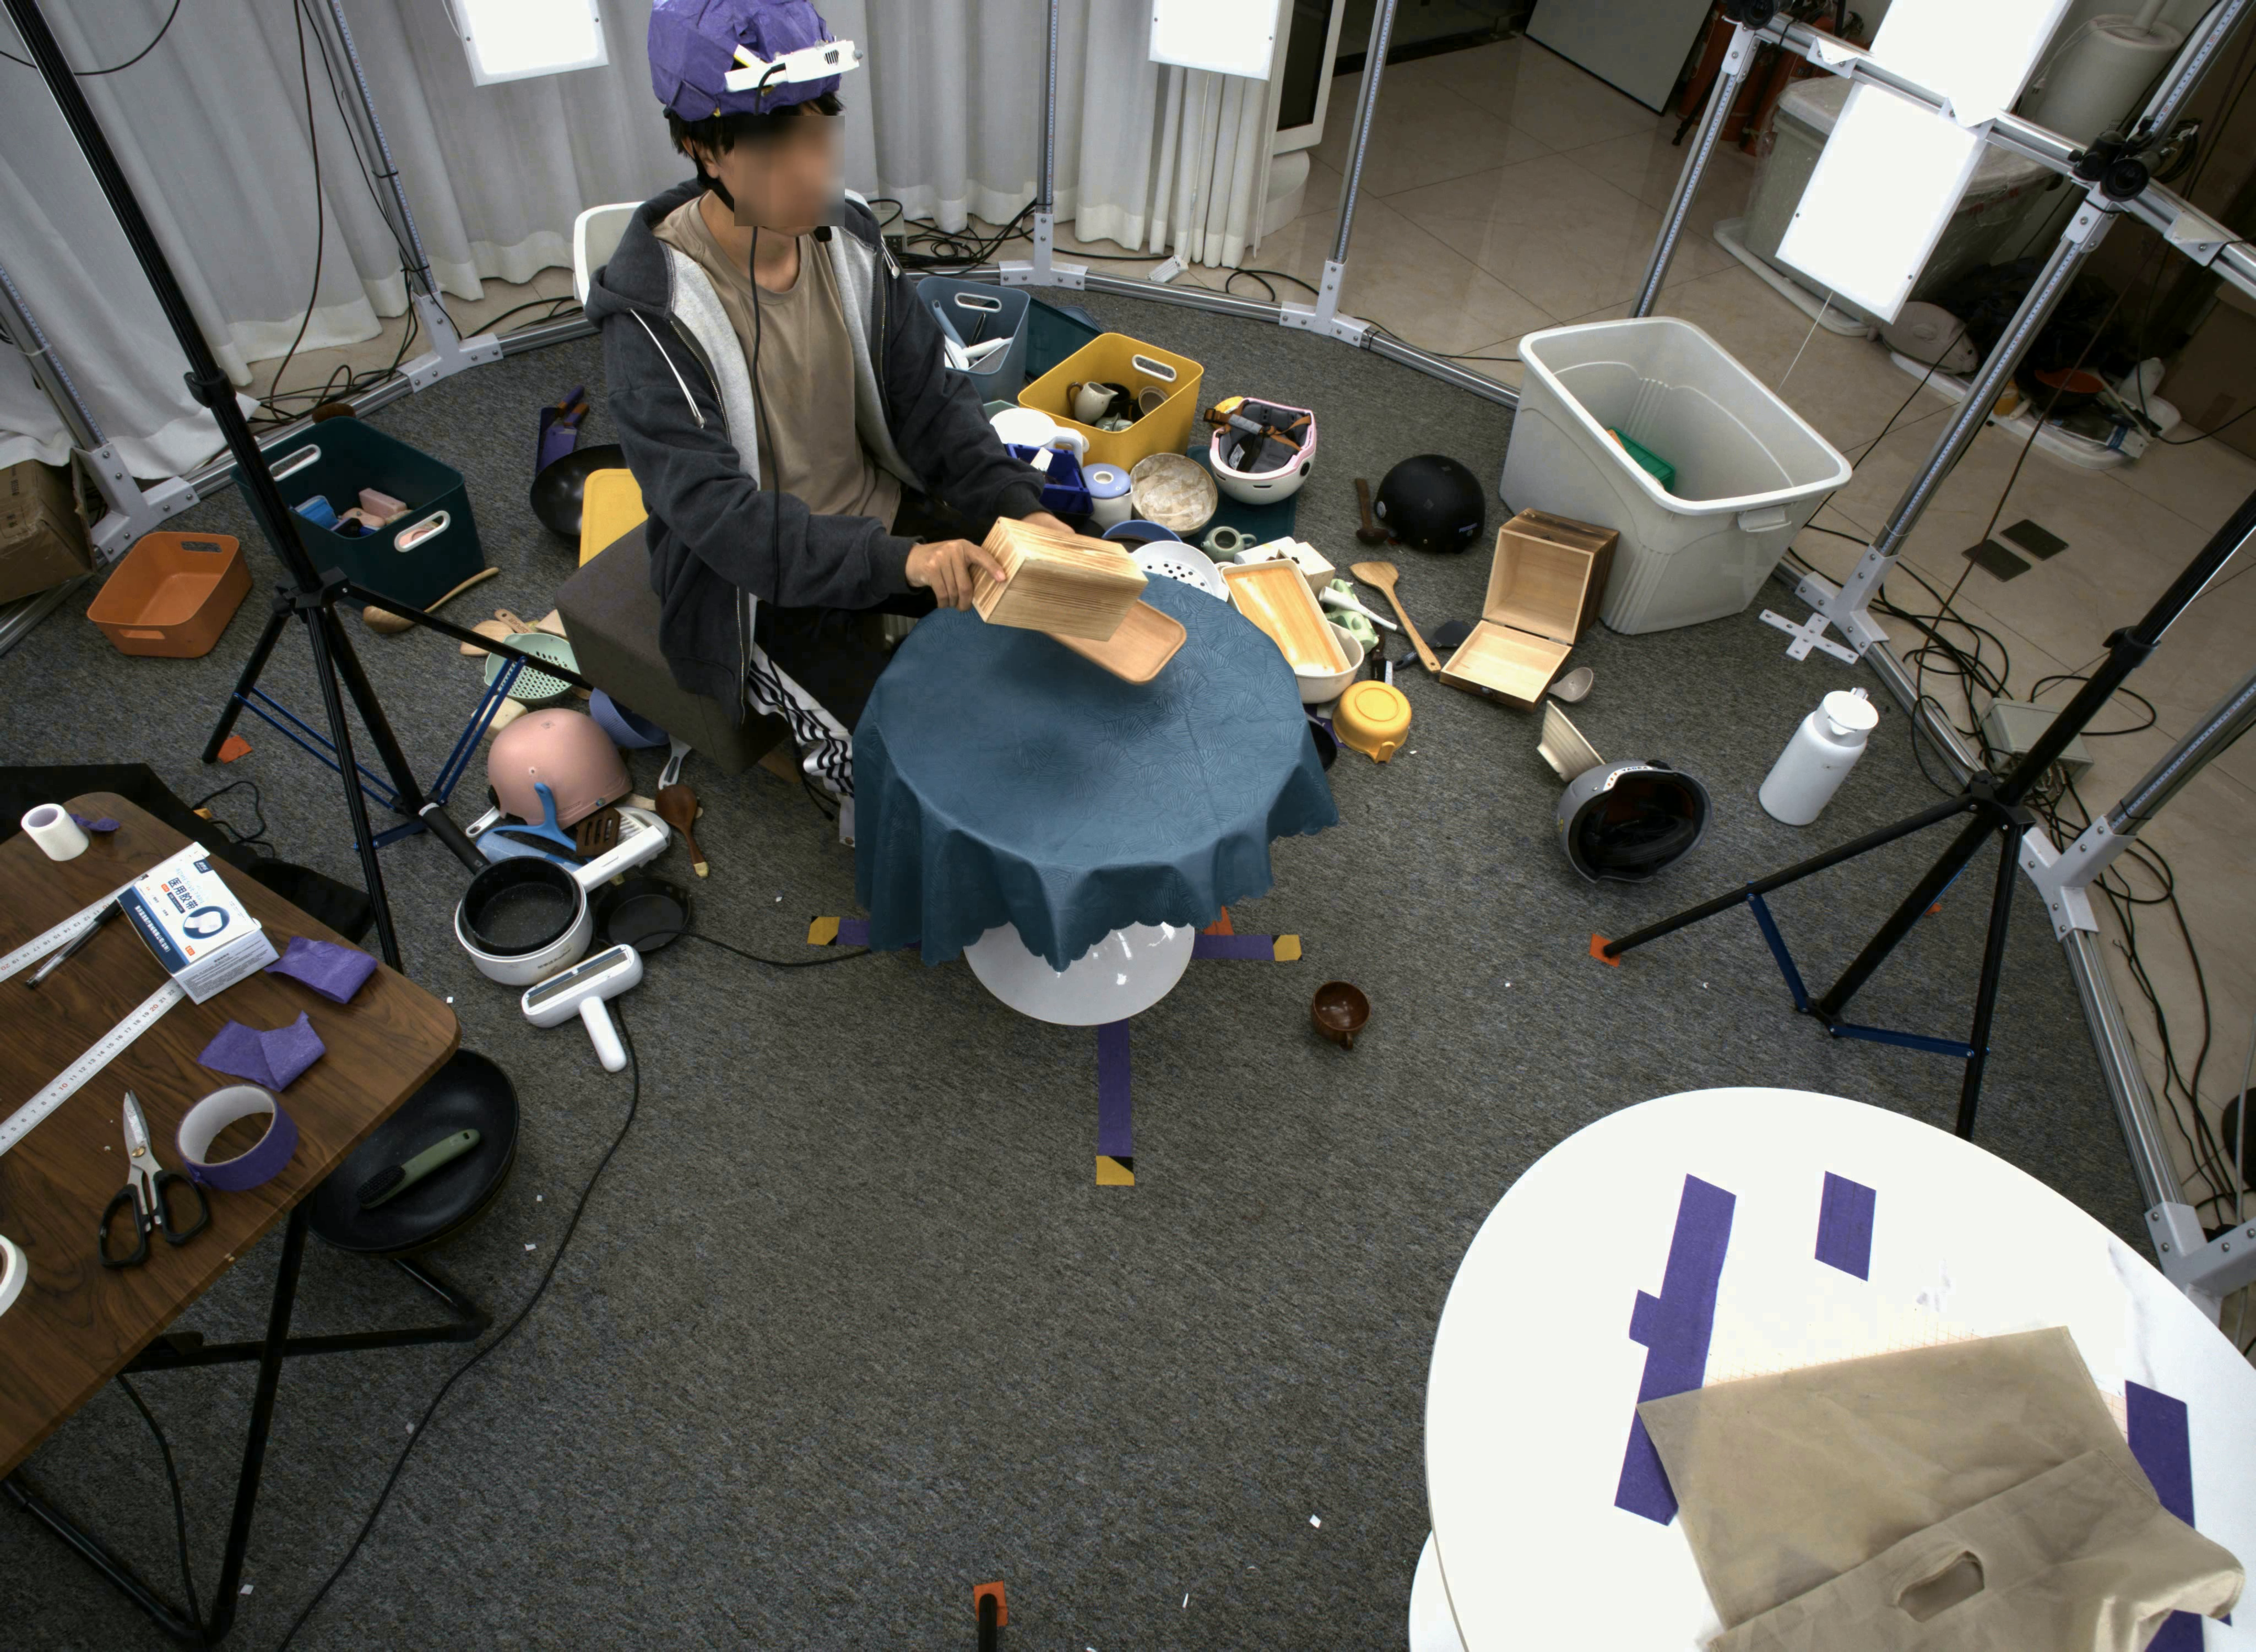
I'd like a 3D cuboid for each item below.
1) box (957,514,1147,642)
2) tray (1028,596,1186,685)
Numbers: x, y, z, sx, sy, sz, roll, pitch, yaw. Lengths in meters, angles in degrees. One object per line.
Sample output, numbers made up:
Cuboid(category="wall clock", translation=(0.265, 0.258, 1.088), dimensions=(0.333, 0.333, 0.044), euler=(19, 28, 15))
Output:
Cuboid(category="box", translation=(-0.094, -0.313, 1.641), dimensions=(0.210, 0.106, 0.082), euler=(2, 45, -44))
Cuboid(category="tray", translation=(-0.046, -0.292, 1.815), dimensions=(0.253, 0.022, 0.132), euler=(32, 59, 17))
